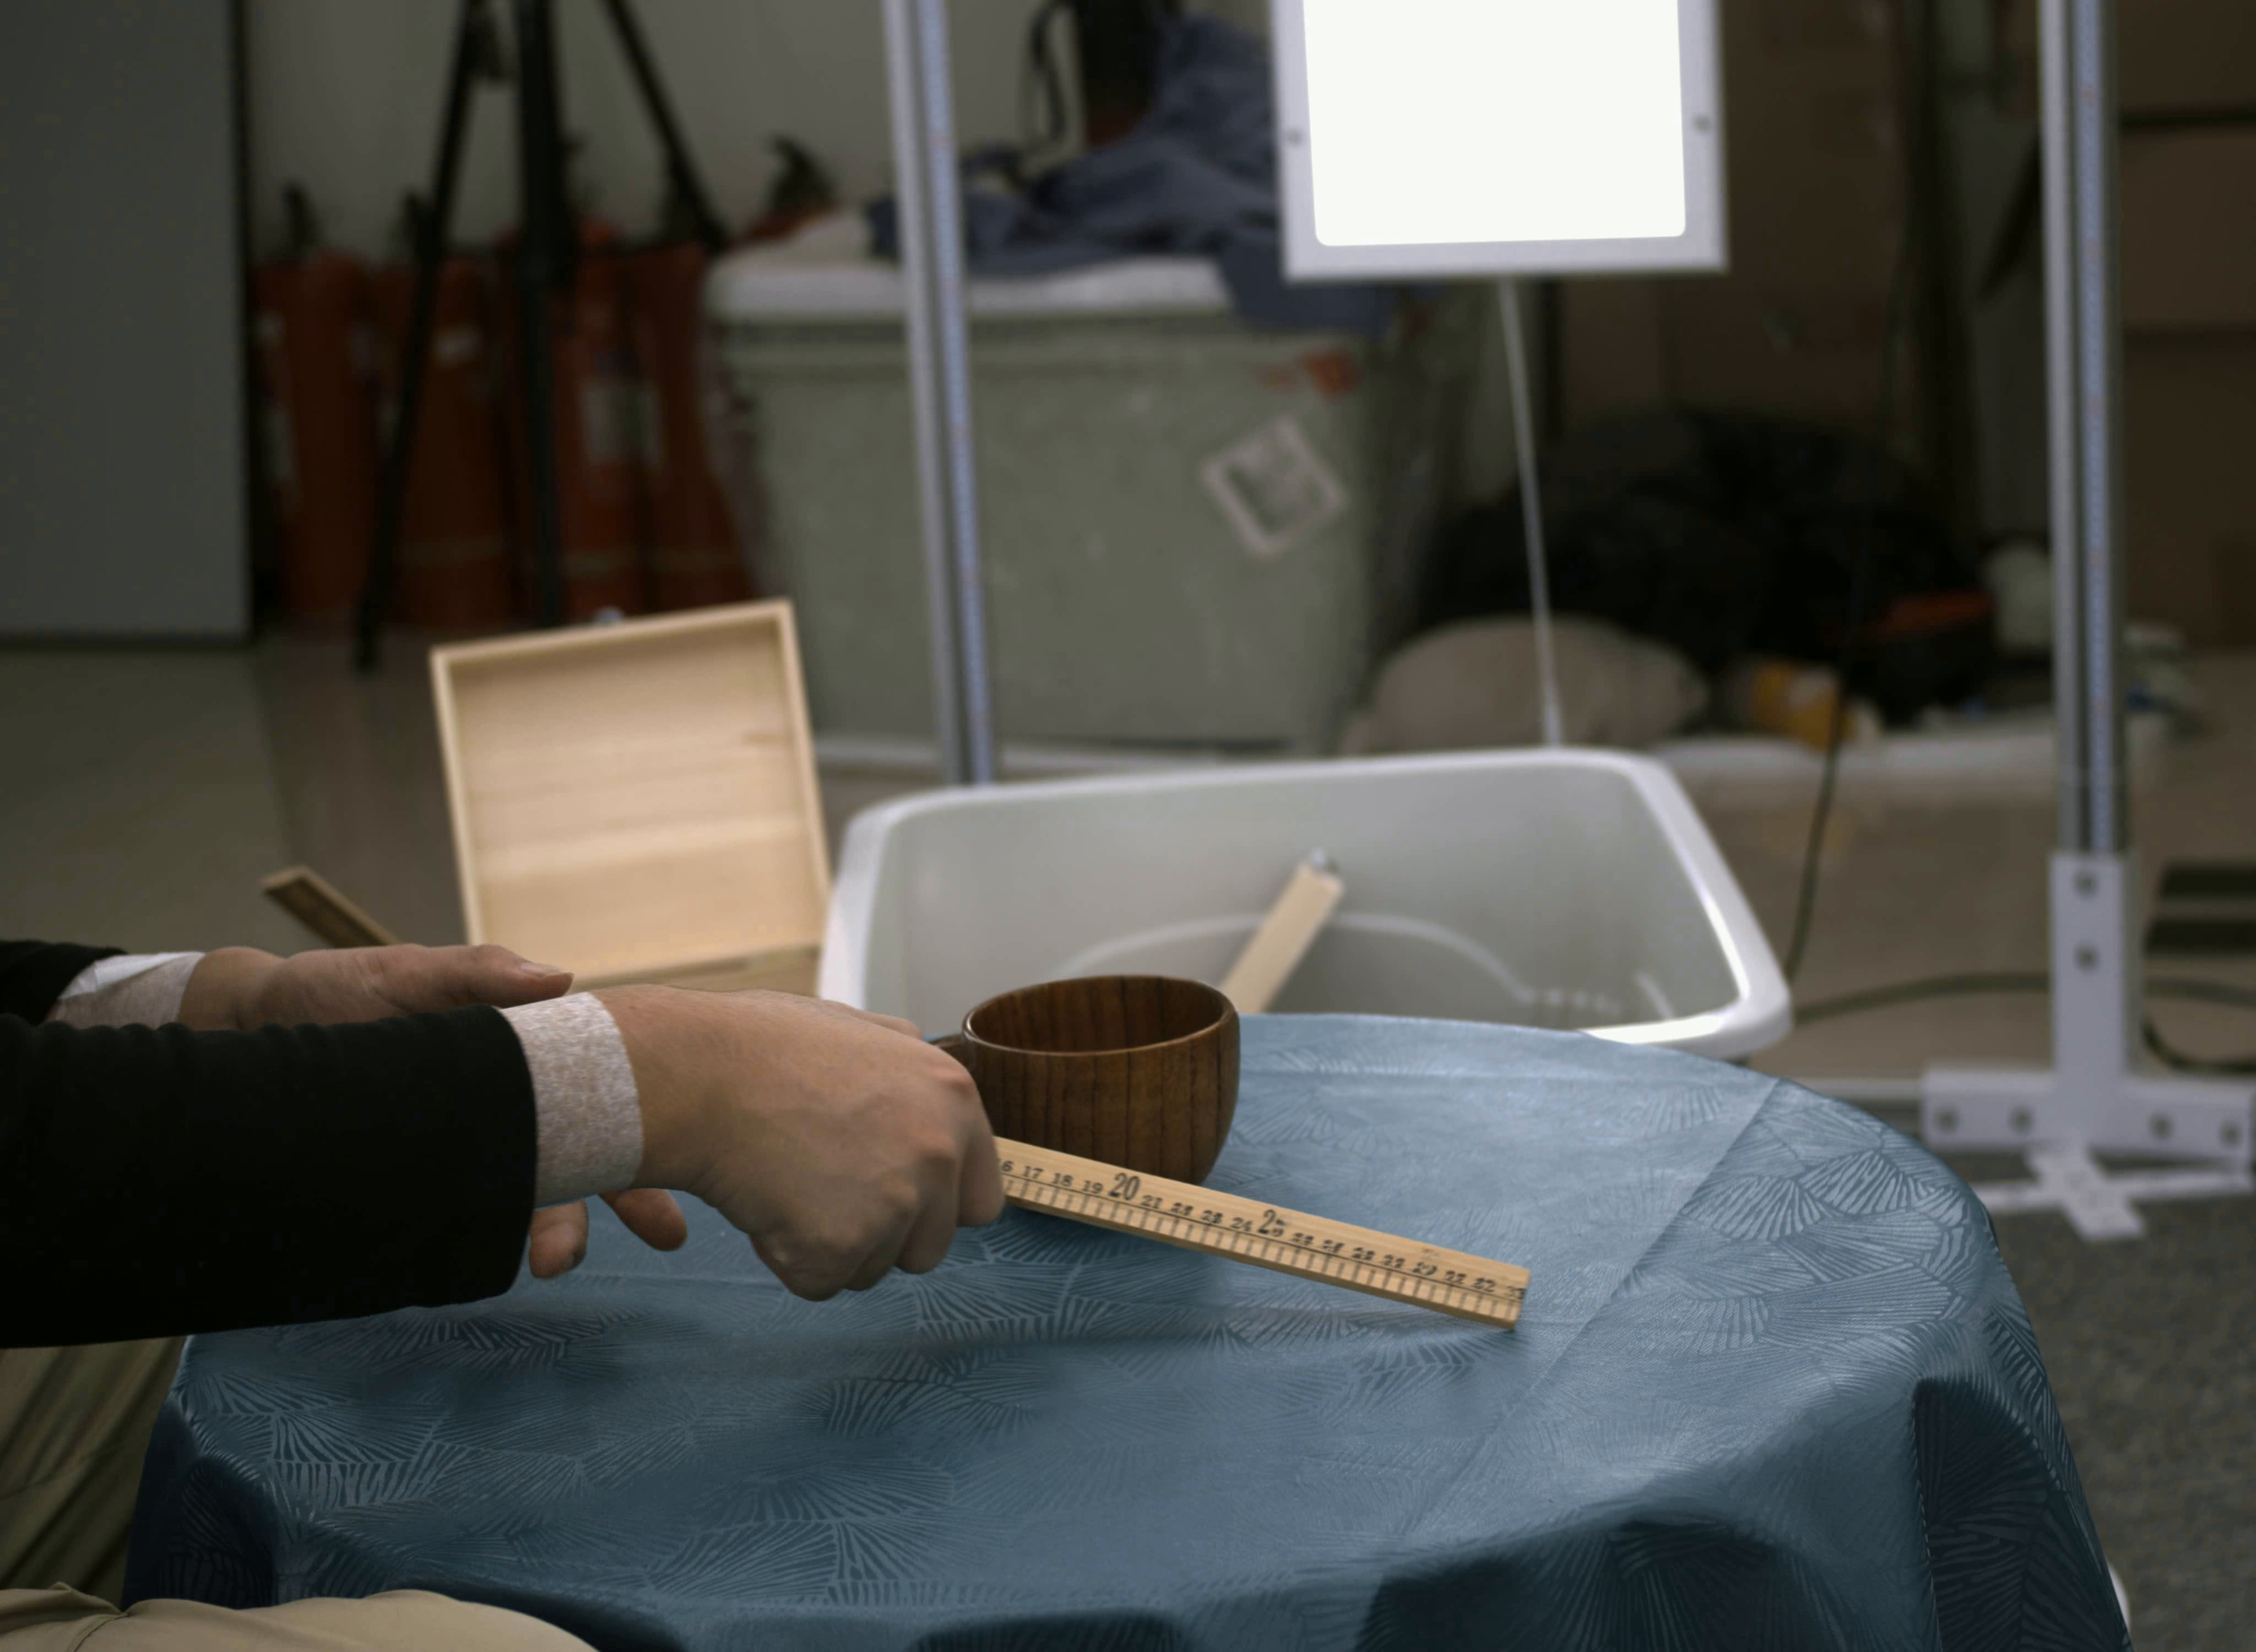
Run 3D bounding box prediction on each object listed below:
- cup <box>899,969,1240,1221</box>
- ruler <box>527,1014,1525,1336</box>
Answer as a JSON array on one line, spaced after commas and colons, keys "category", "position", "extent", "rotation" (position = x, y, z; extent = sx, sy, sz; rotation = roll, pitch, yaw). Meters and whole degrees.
[{"category": "cup", "position": [-0.019, 0.096, 1.895], "extent": [0.119, 0.068, 0.096], "rotation": [-7, 16, -5]}, {"category": "ruler", "position": [-0.034, 0.108, 1.764], "extent": [0.334, 0.022, 0.027], "rotation": [15, 38, 12]}]
